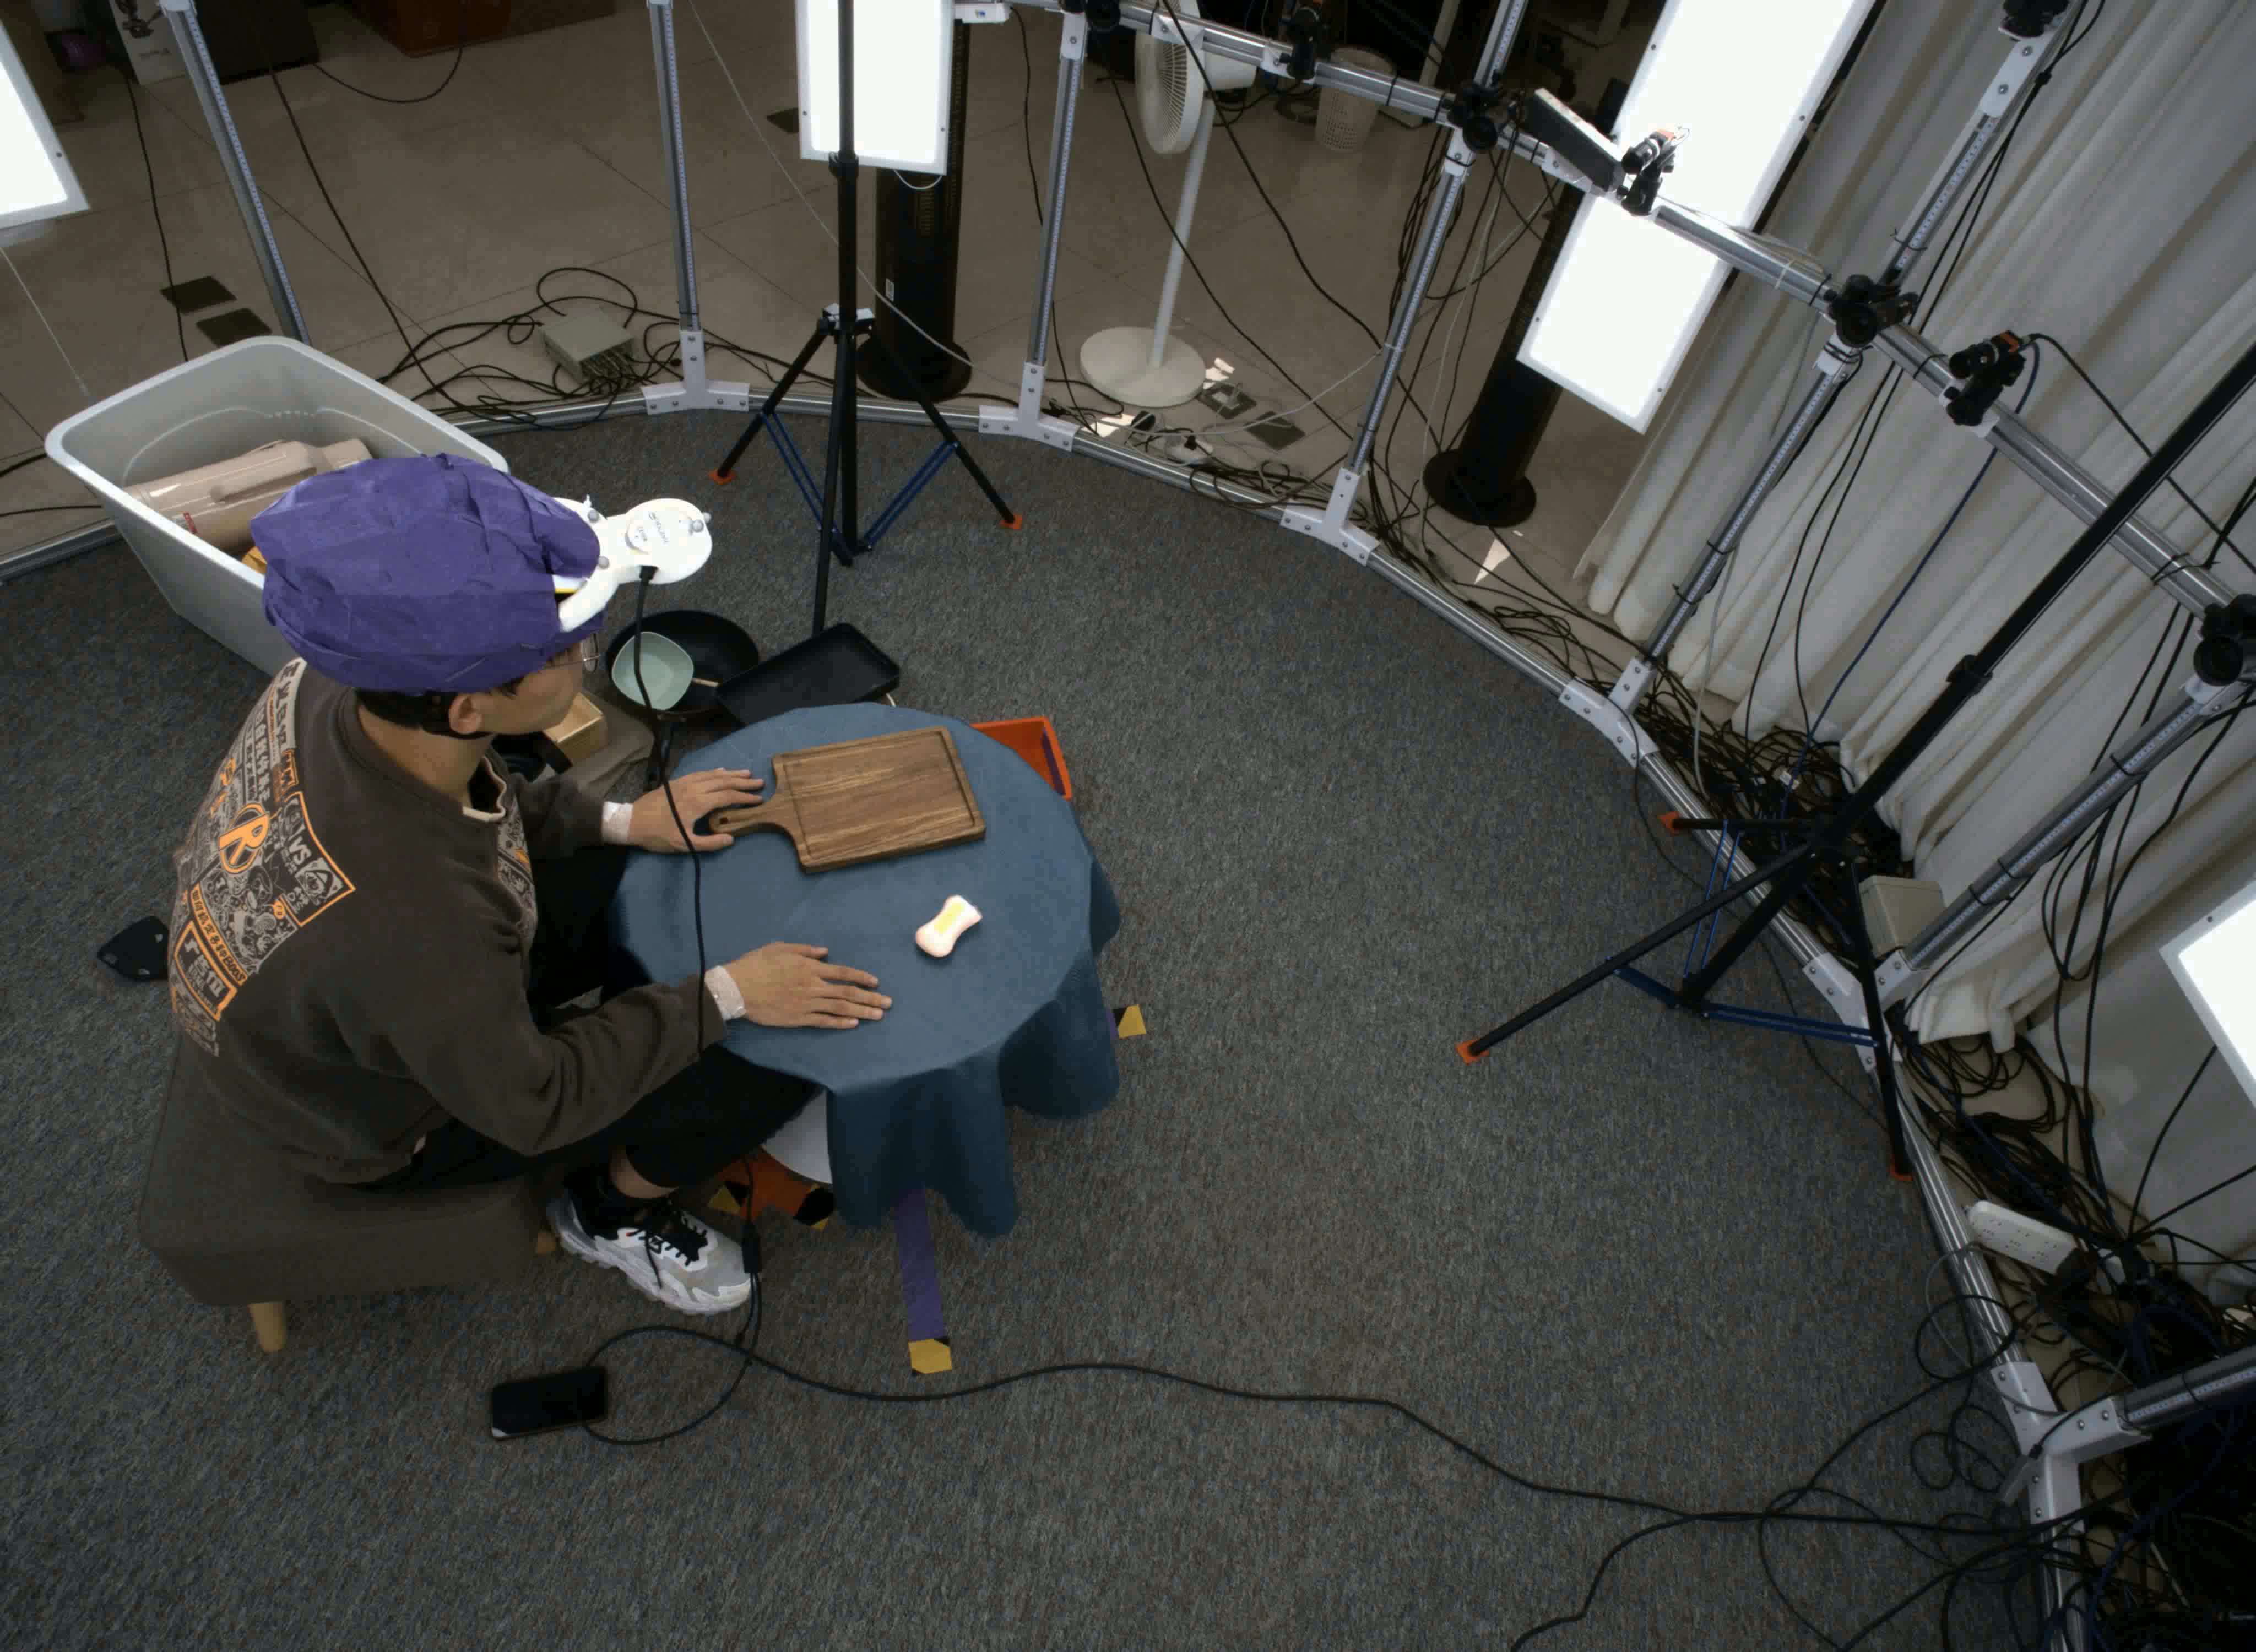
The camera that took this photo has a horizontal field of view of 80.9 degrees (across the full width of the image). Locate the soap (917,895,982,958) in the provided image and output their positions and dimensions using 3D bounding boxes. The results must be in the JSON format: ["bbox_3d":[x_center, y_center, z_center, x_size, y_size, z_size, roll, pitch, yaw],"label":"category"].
[{"bbox_3d":[-0.229,0.127,1.675,0.049,0.031,0.094,32,55,12],"label":"soap"}]

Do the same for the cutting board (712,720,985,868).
[{"bbox_3d":[-0.386,-0.040,1.764,0.353,0.023,0.196,-11,58,-21],"label":"cutting board"}]
